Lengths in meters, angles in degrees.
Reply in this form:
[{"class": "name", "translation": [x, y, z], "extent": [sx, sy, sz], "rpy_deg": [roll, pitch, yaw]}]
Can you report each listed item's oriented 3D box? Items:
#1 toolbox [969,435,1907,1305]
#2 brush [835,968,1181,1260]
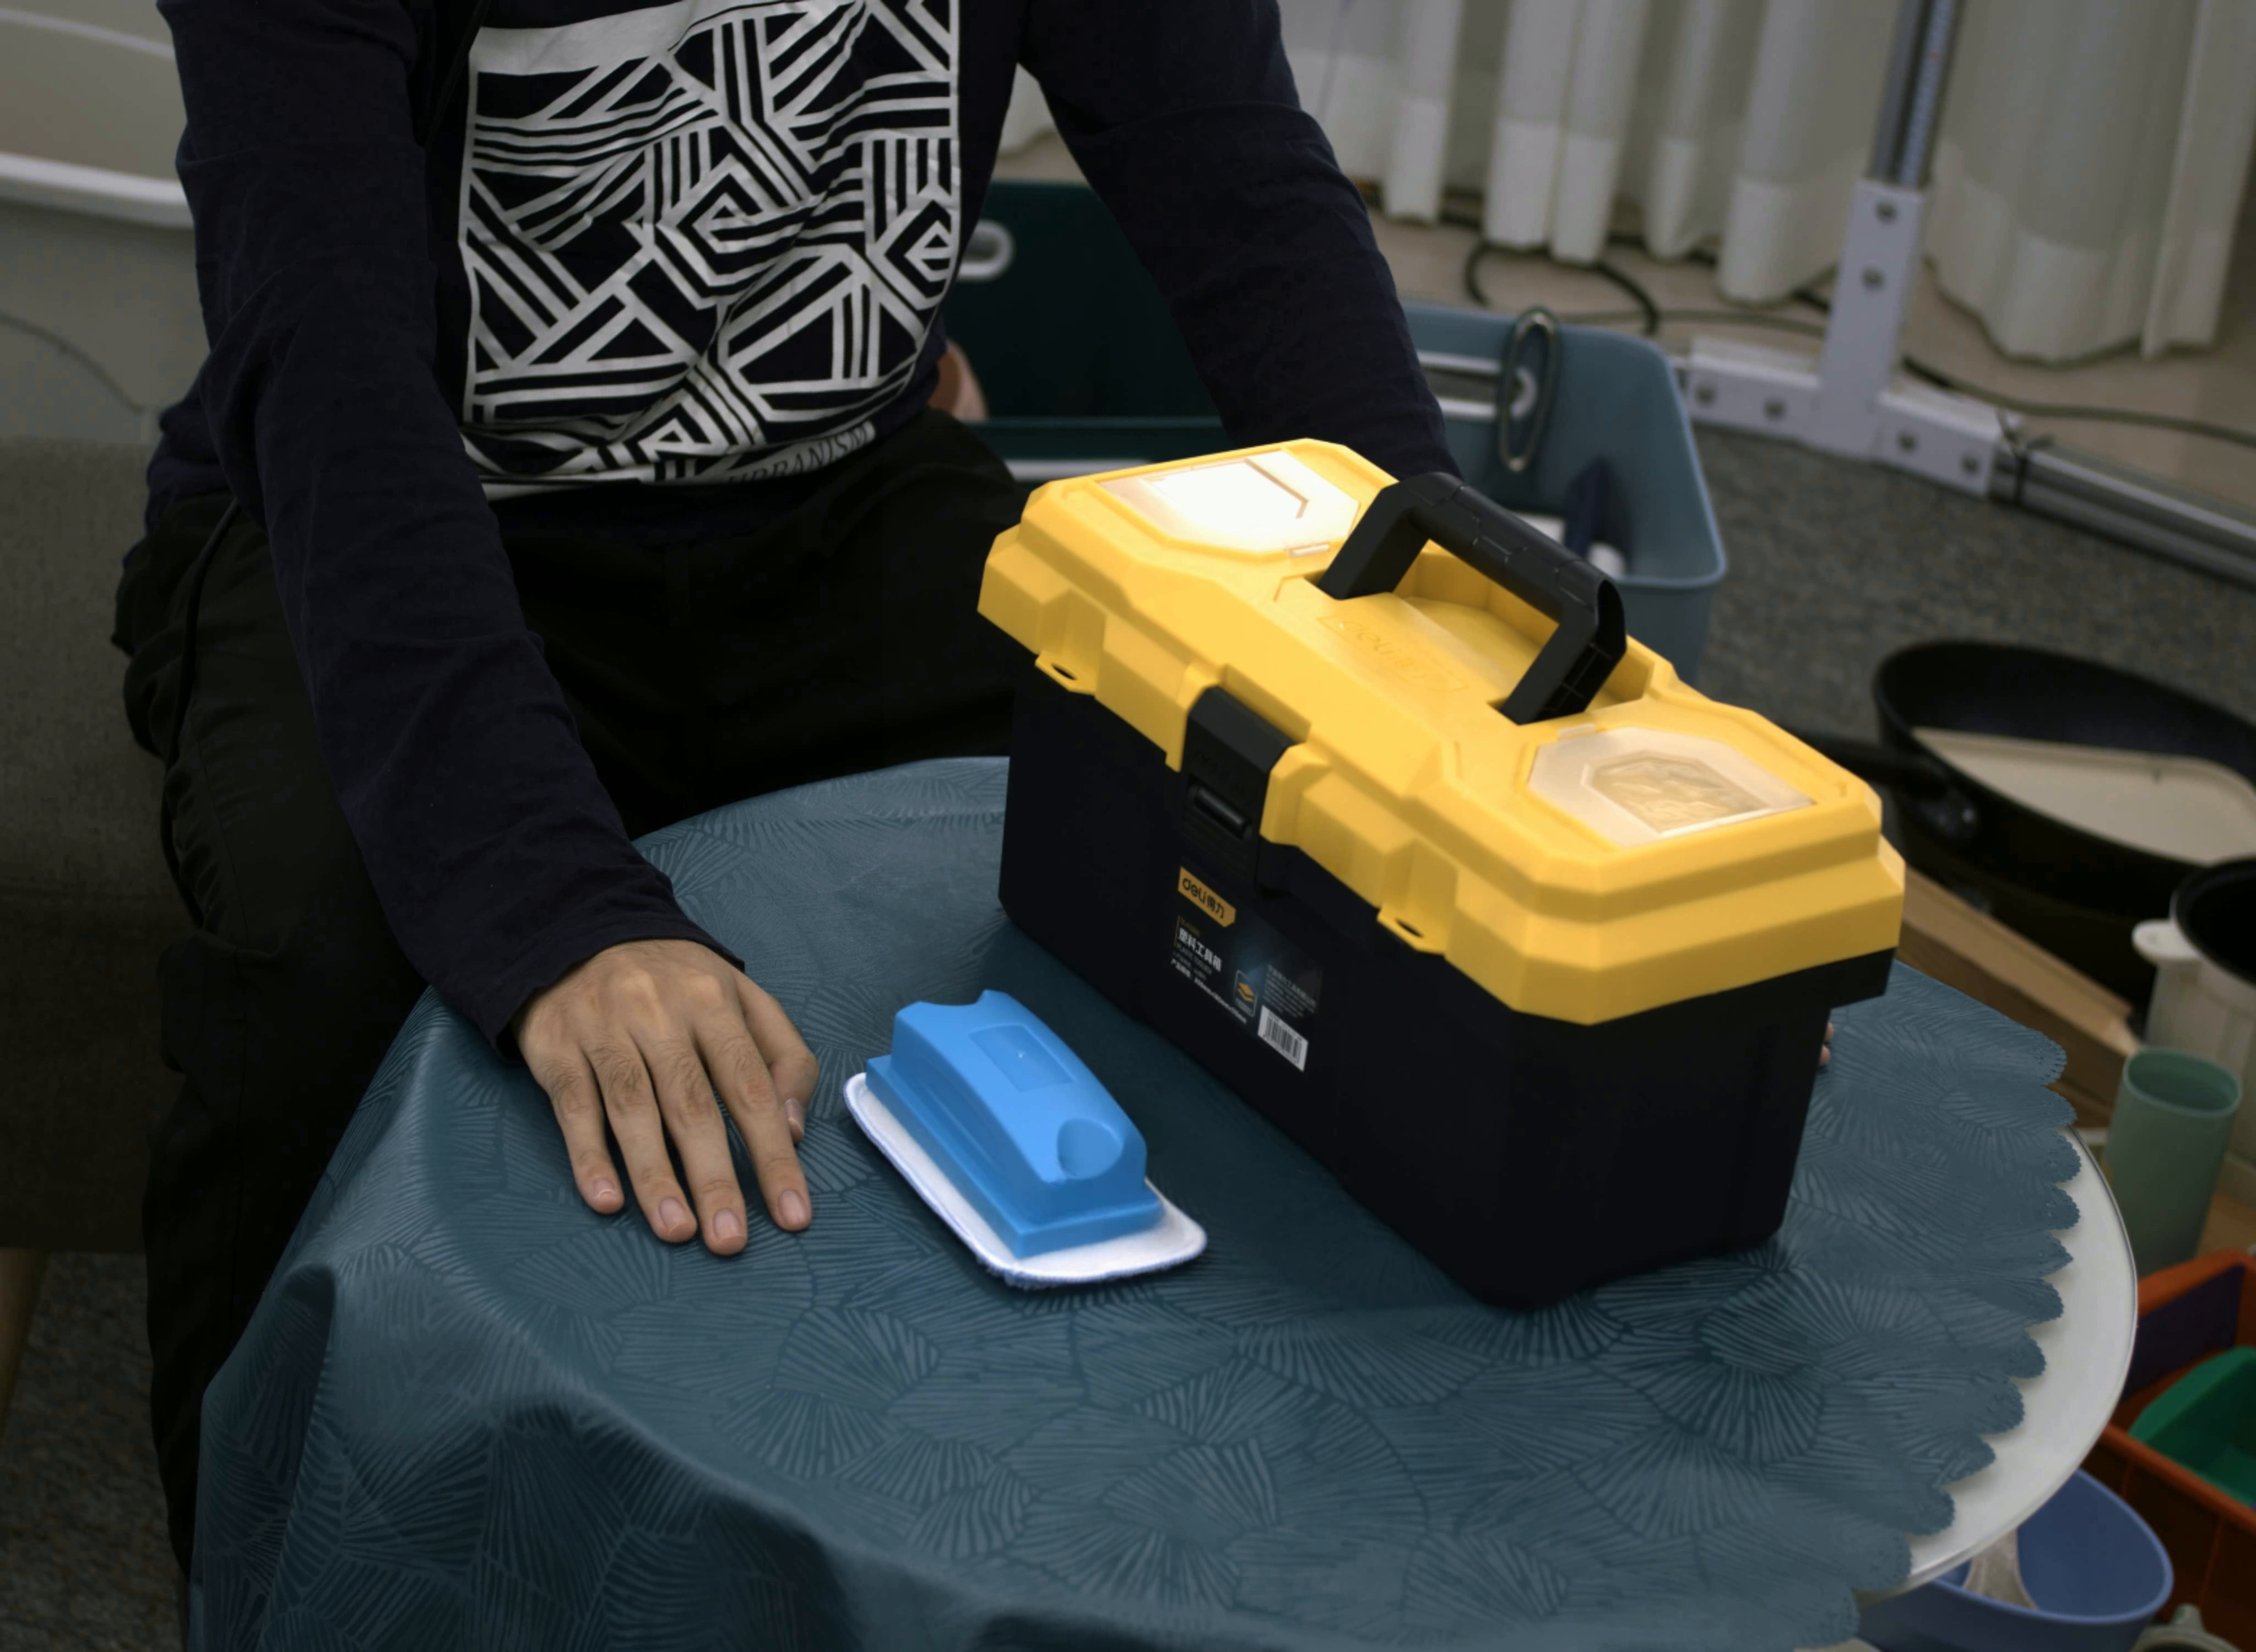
[{"class": "toolbox", "translation": [0.096, 0.009, 1.860], "extent": [0.180, 0.172, 0.354], "rpy_deg": [-12, 32, -33]}, {"class": "brush", "translation": [-0.038, 0.092, 1.793], "extent": [0.083, 0.056, 0.145], "rpy_deg": [-4, 30, -26]}]
